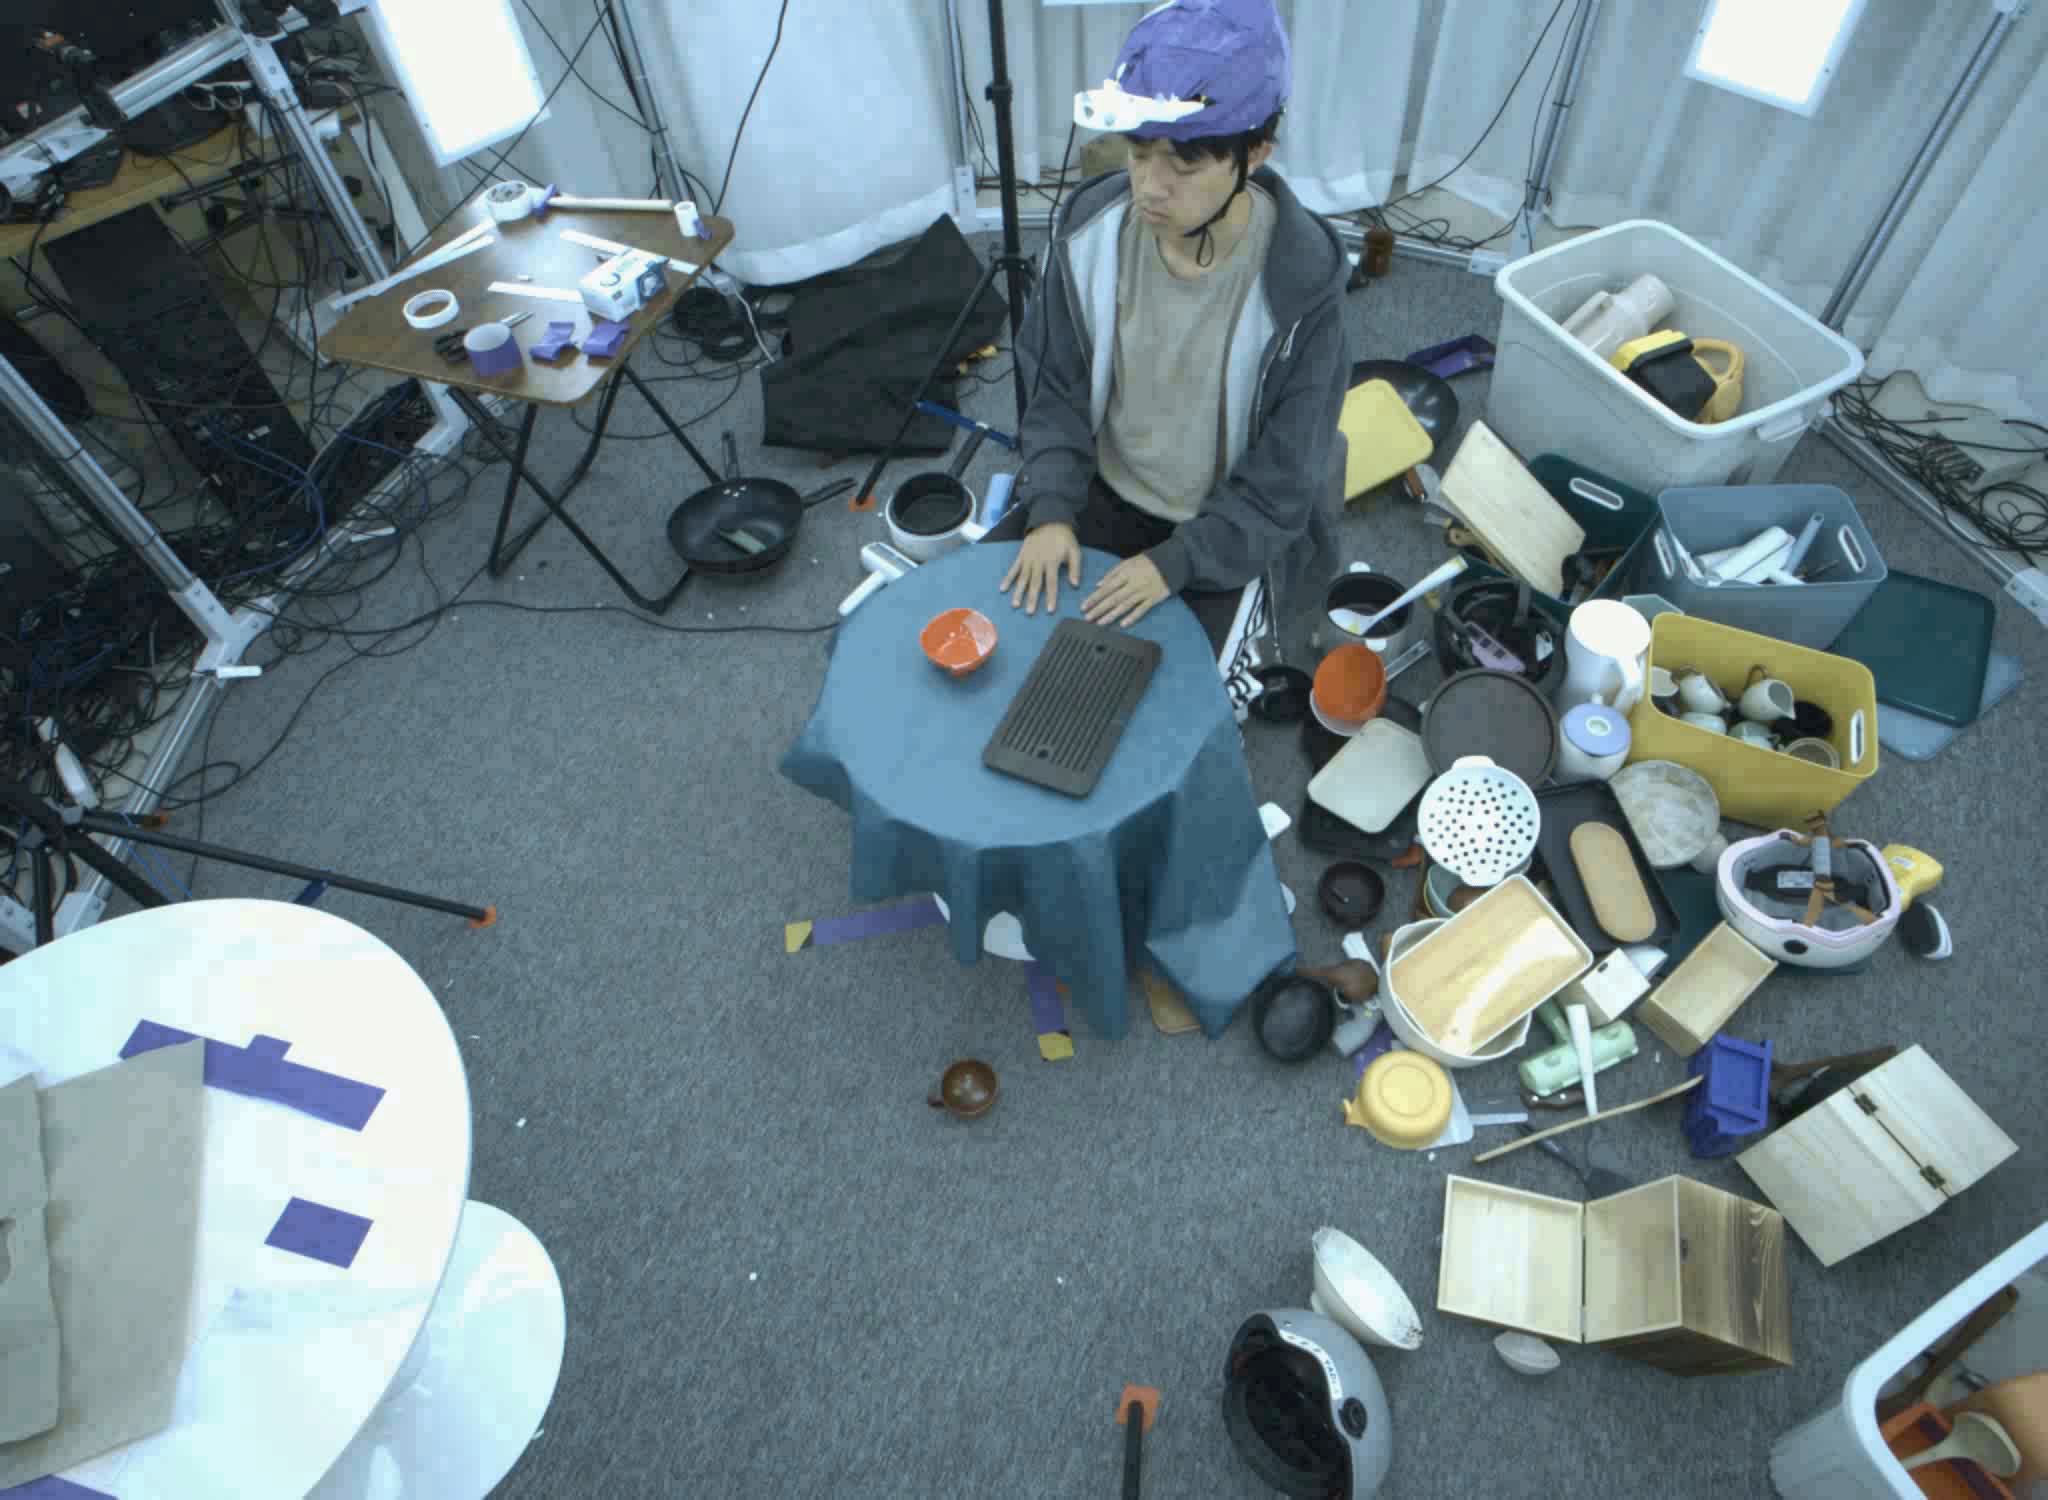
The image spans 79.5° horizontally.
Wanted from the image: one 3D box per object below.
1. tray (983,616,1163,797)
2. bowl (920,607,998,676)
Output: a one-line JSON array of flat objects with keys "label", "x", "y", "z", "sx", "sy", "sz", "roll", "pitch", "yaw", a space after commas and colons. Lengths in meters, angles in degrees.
[{"label": "tray", "x": 0.077, "y": -0.068, "z": 1.825, "sx": 0.168, "sy": 0.019, "sz": 0.306, "roll": 19, "pitch": 57, "yaw": 15}, {"label": "bowl", "x": -0.098, "y": -0.158, "z": 1.872, "sx": 0.119, "sy": 0.052, "sz": 0.117, "roll": -1, "pitch": 54, "yaw": 3}]
